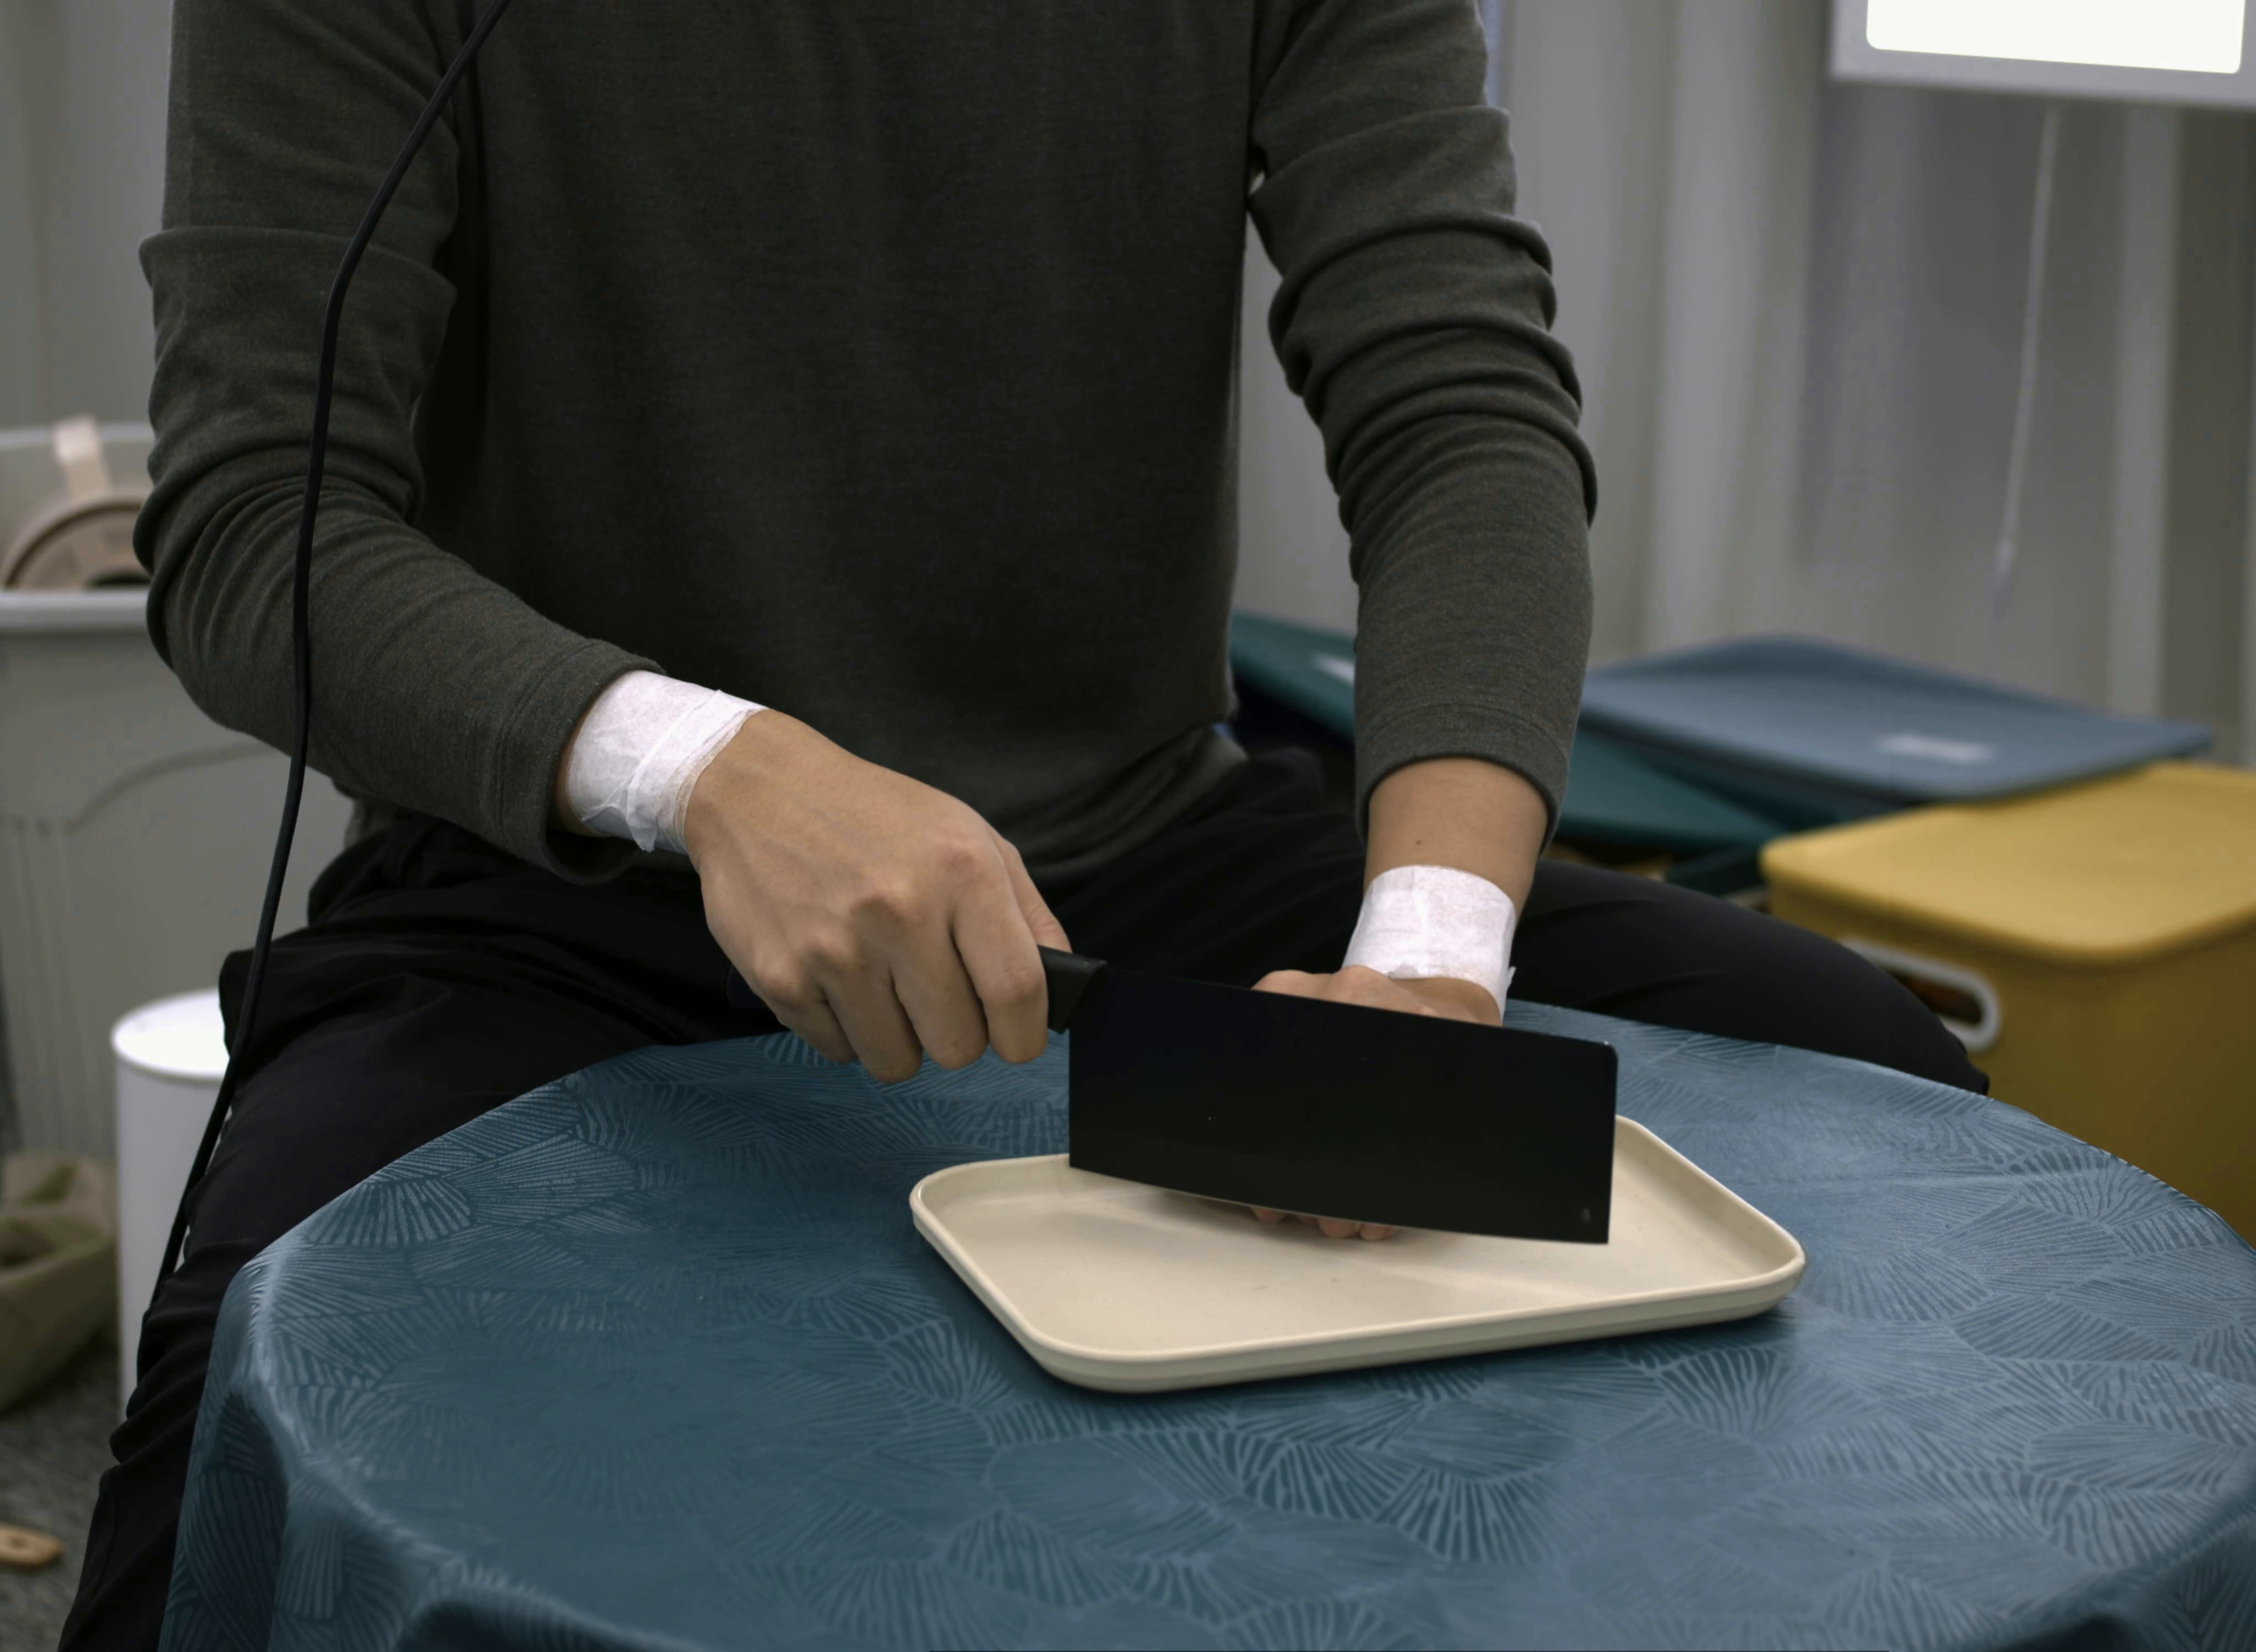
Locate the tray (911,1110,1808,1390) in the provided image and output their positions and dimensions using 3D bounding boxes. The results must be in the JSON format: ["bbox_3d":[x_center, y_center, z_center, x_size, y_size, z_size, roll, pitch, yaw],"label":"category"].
[{"bbox_3d":[0.066,0.124,1.553,0.240,0.017,0.169,-5,16,-19],"label":"tray"}]

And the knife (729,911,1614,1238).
[{"bbox_3d":[0.009,0.071,1.578,0.299,0.081,0.021,12,16,26],"label":"knife"}]
